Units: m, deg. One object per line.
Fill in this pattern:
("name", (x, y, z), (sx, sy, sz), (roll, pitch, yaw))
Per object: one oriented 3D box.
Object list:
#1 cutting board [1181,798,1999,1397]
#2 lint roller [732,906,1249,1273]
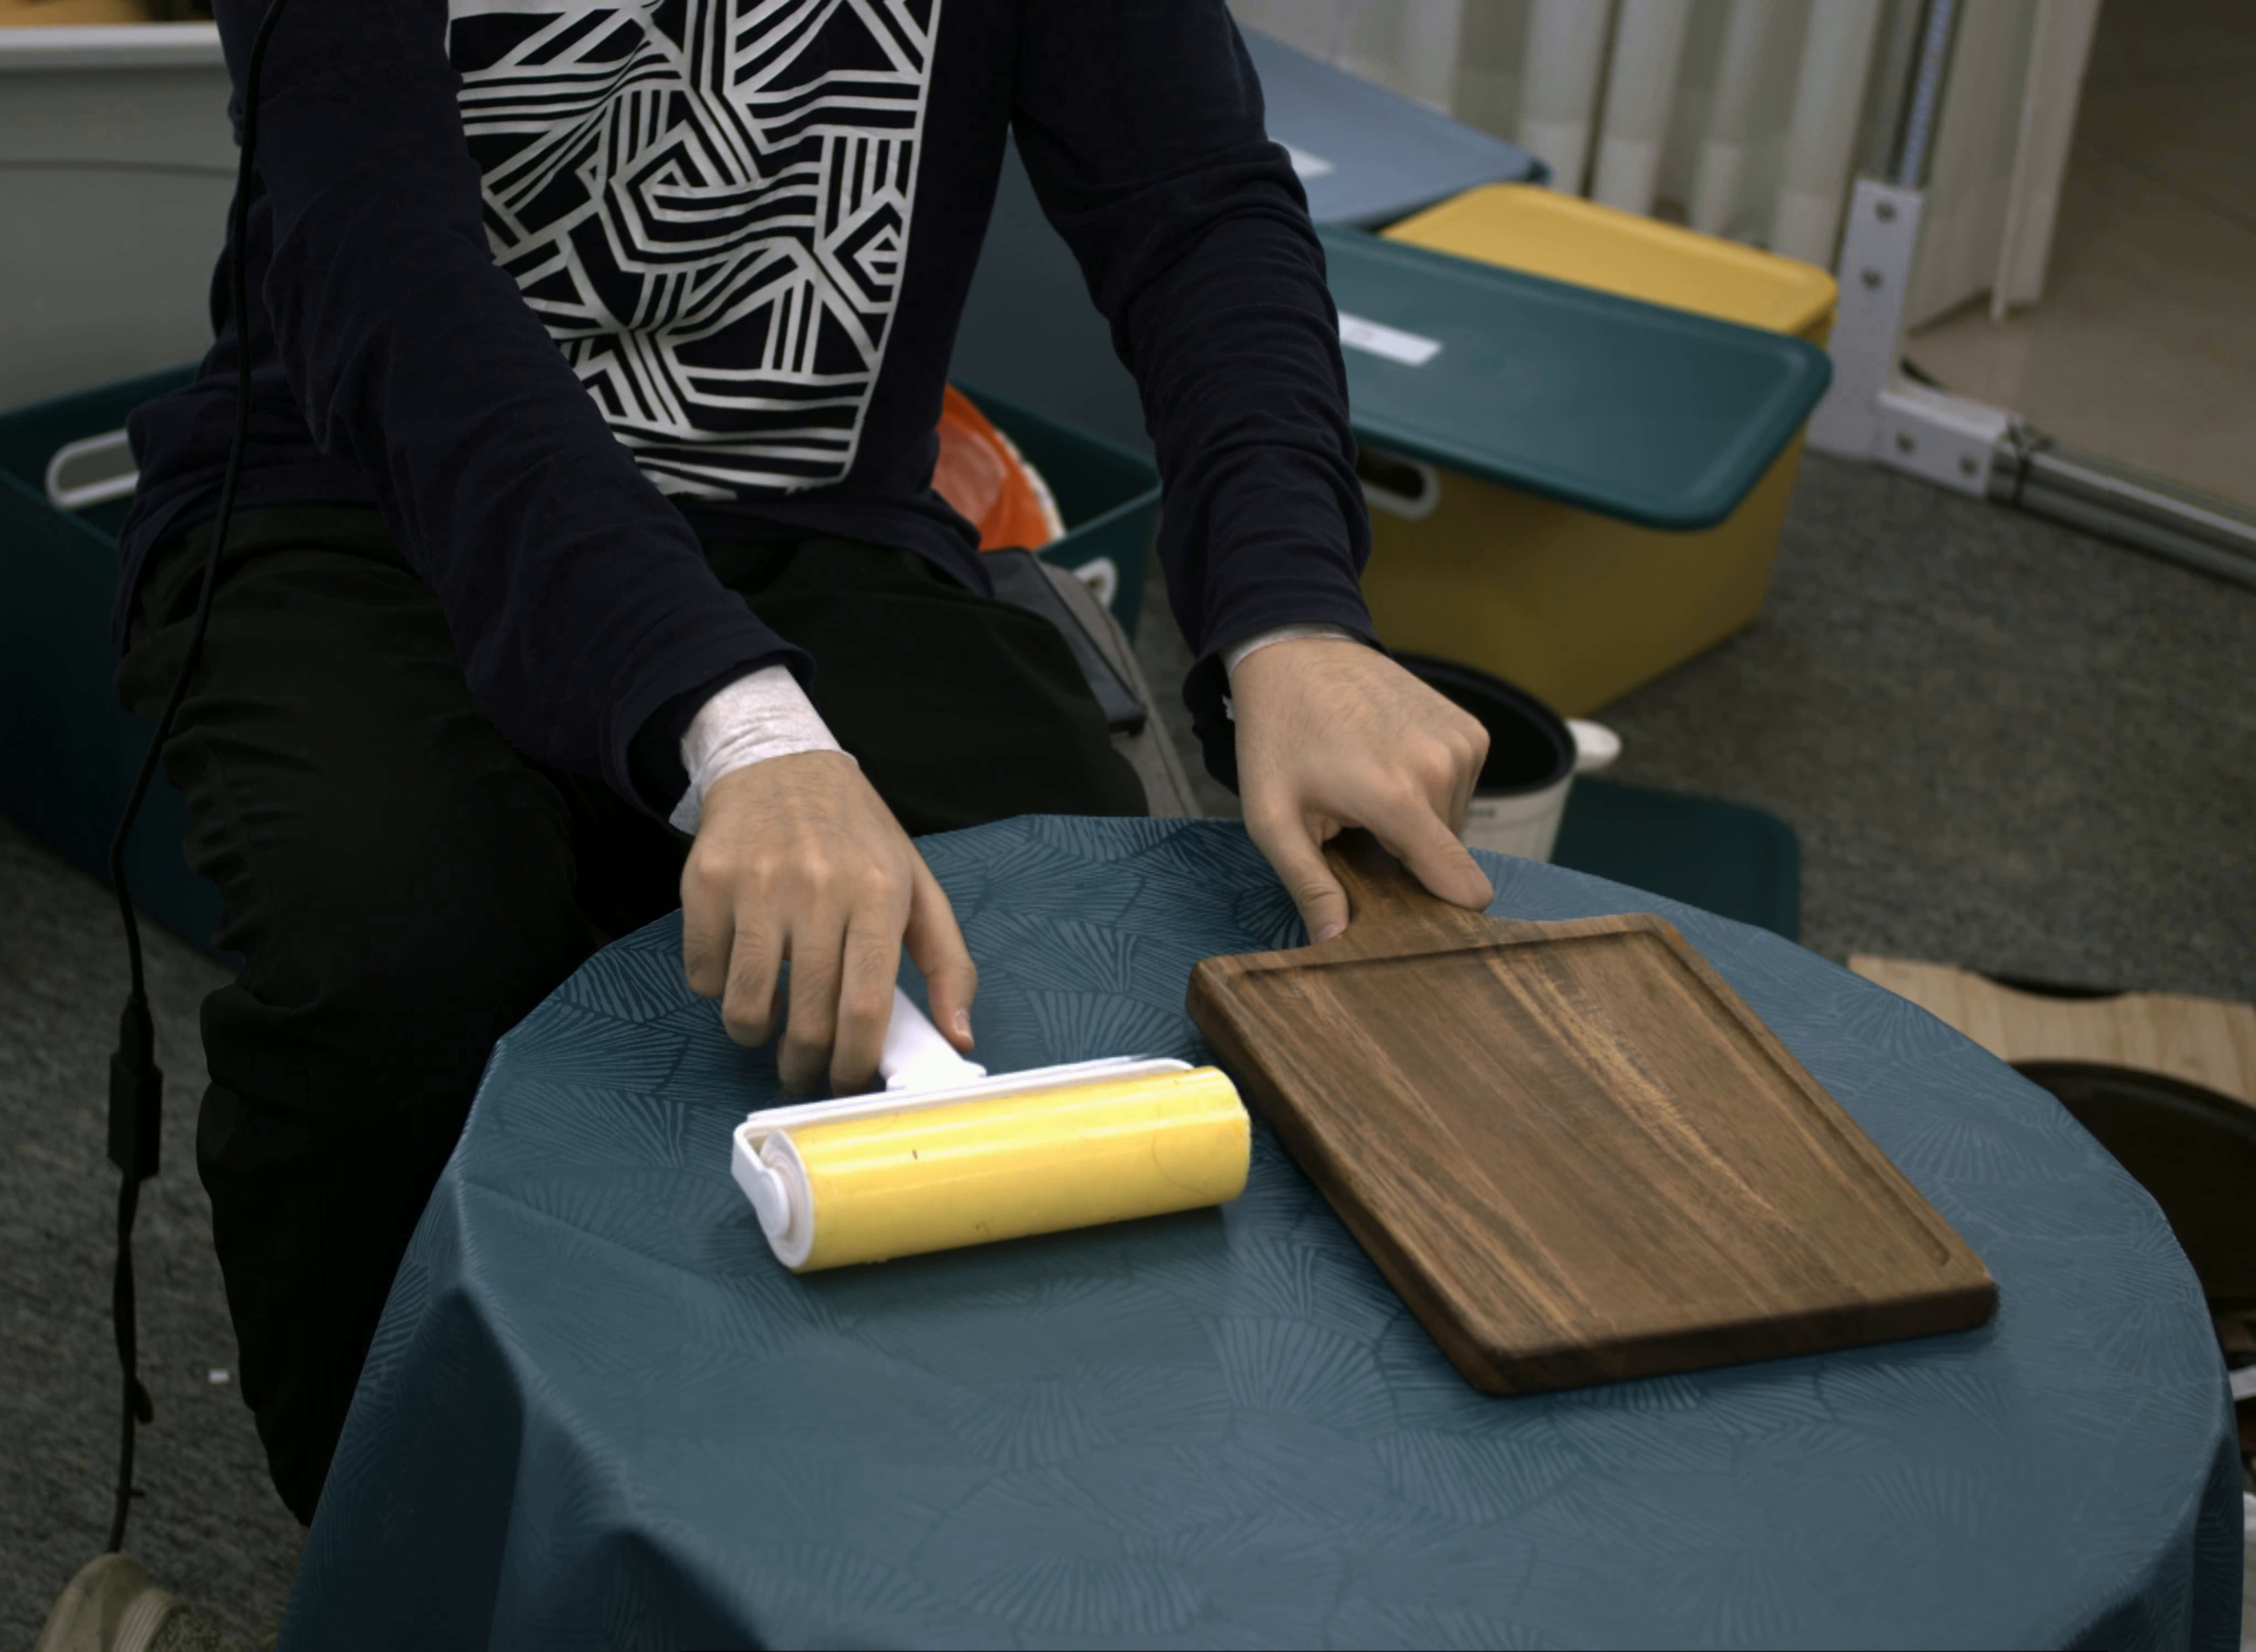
("cutting board", (0.137, 0.083, 1.877), (0.200, 0.023, 0.355), (-5, 31, -23))
("lint roller", (-0.073, 0.073, 1.814), (0.173, 0.051, 0.194), (-8, 40, -27))
